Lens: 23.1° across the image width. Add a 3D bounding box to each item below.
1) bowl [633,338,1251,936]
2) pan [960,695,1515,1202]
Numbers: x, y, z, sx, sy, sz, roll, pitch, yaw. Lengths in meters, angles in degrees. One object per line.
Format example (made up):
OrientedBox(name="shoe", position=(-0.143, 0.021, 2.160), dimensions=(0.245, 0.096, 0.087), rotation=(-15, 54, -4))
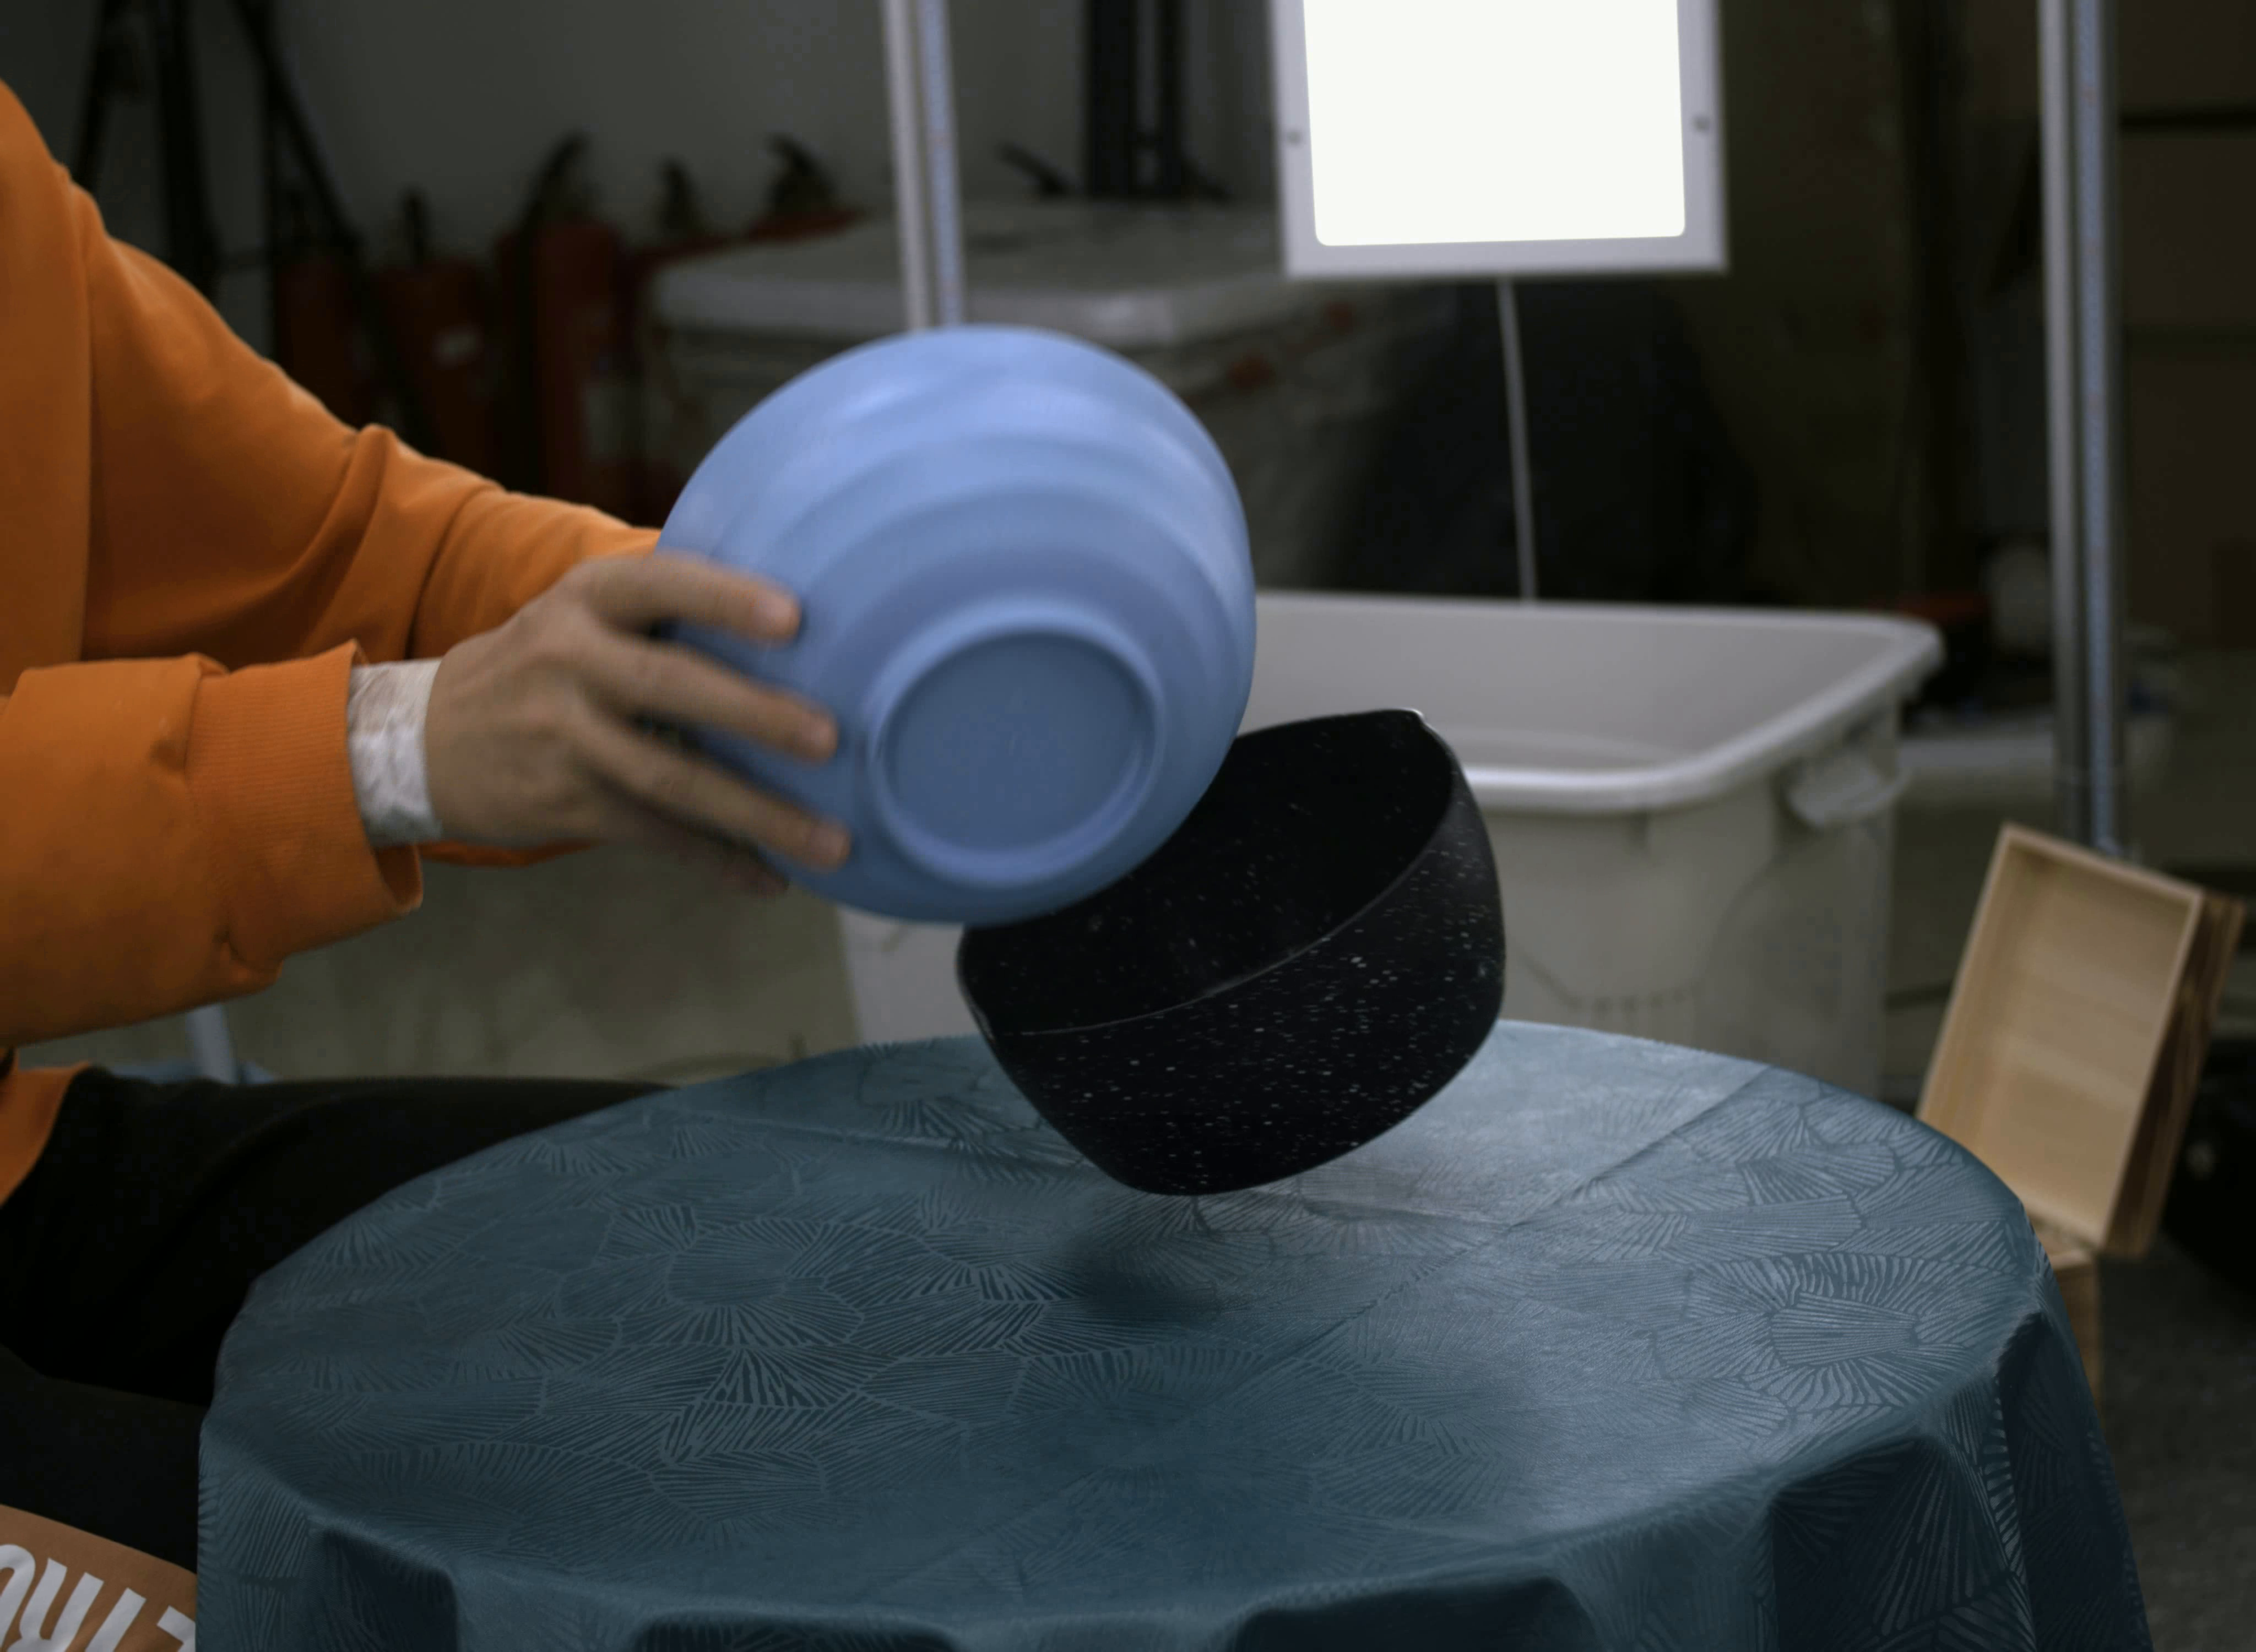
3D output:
OrientedBox(name="bowl", position=(-0.047, -0.040, 1.677), dimensions=(0.194, 0.198, 0.096), rotation=(-7, 35, -10))
OrientedBox(name="pan", position=(-0.008, 0.031, 1.914), dimensions=(0.204, 0.108, 0.350), rotation=(-40, 28, -26))
